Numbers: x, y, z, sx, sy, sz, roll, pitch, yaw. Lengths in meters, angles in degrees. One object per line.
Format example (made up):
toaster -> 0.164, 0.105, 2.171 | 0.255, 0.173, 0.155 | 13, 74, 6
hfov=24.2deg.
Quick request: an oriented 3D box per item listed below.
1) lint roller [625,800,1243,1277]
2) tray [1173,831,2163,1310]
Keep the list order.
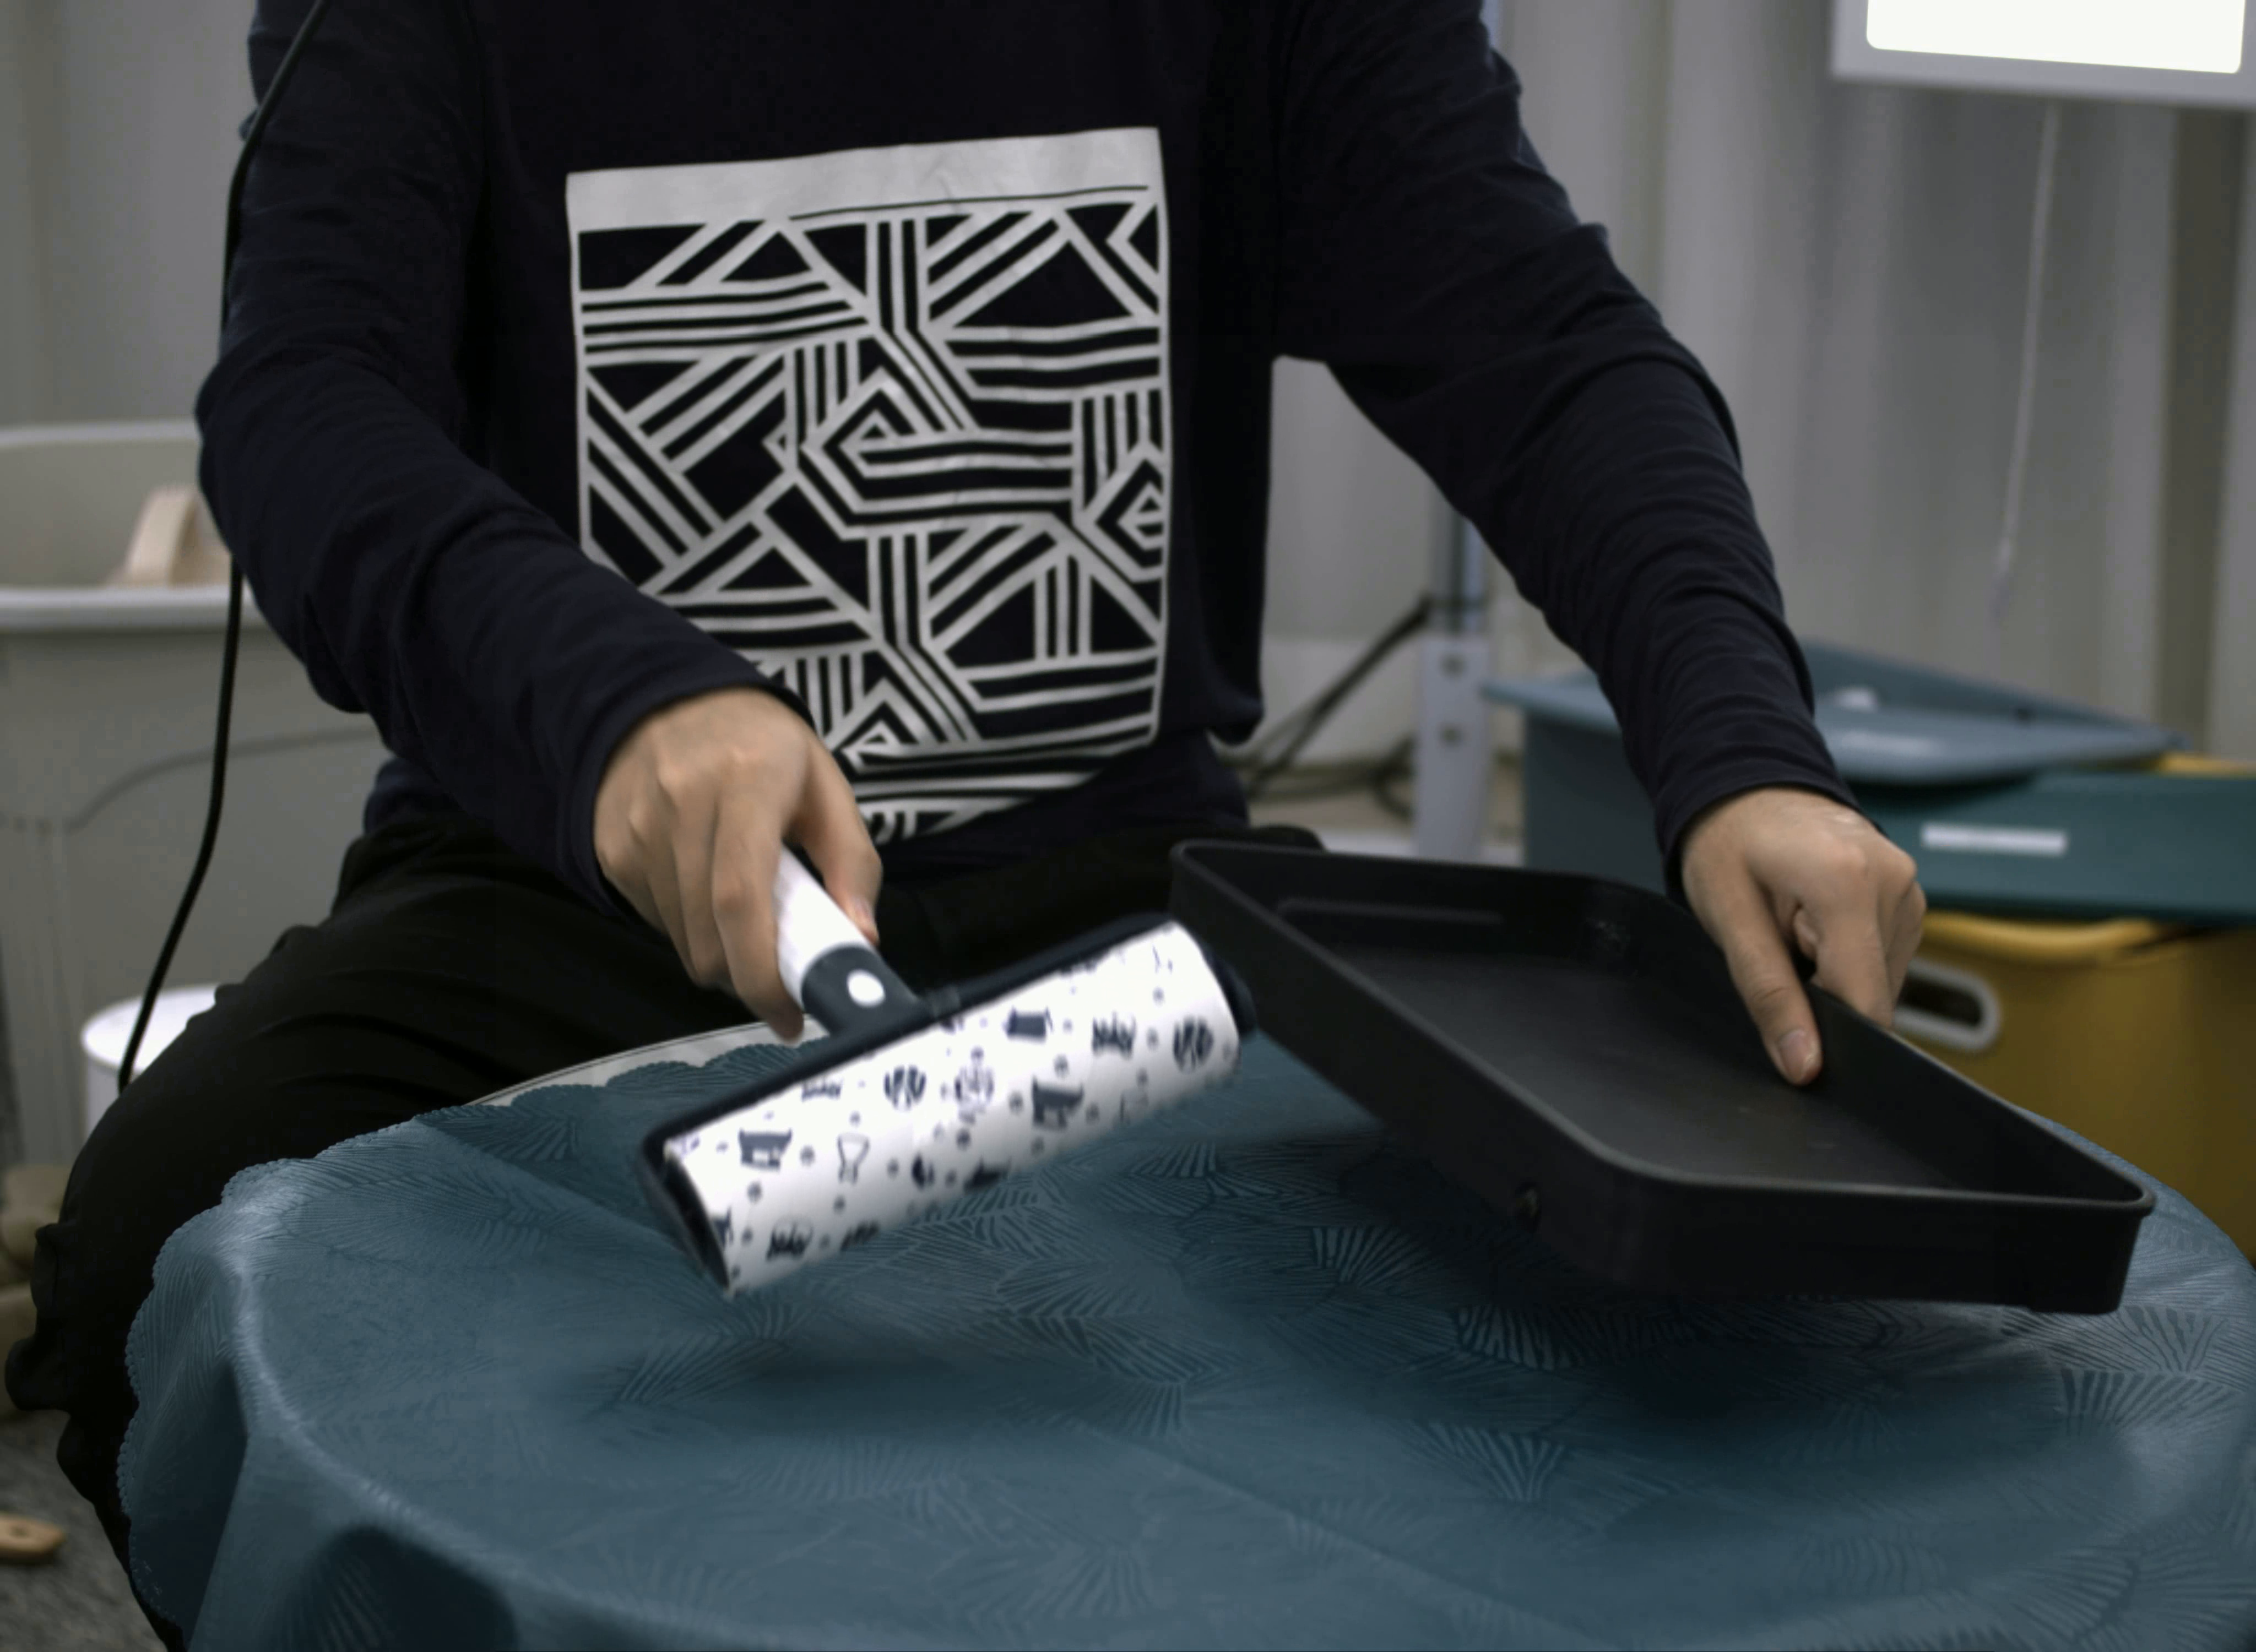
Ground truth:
lint roller -> -0.091, 0.037, 1.560 | 0.176, 0.051, 0.244 | -25, 30, -14
tray -> 0.150, 0.069, 1.571 | 0.185, 0.037, 0.314 | 7, 13, -27
